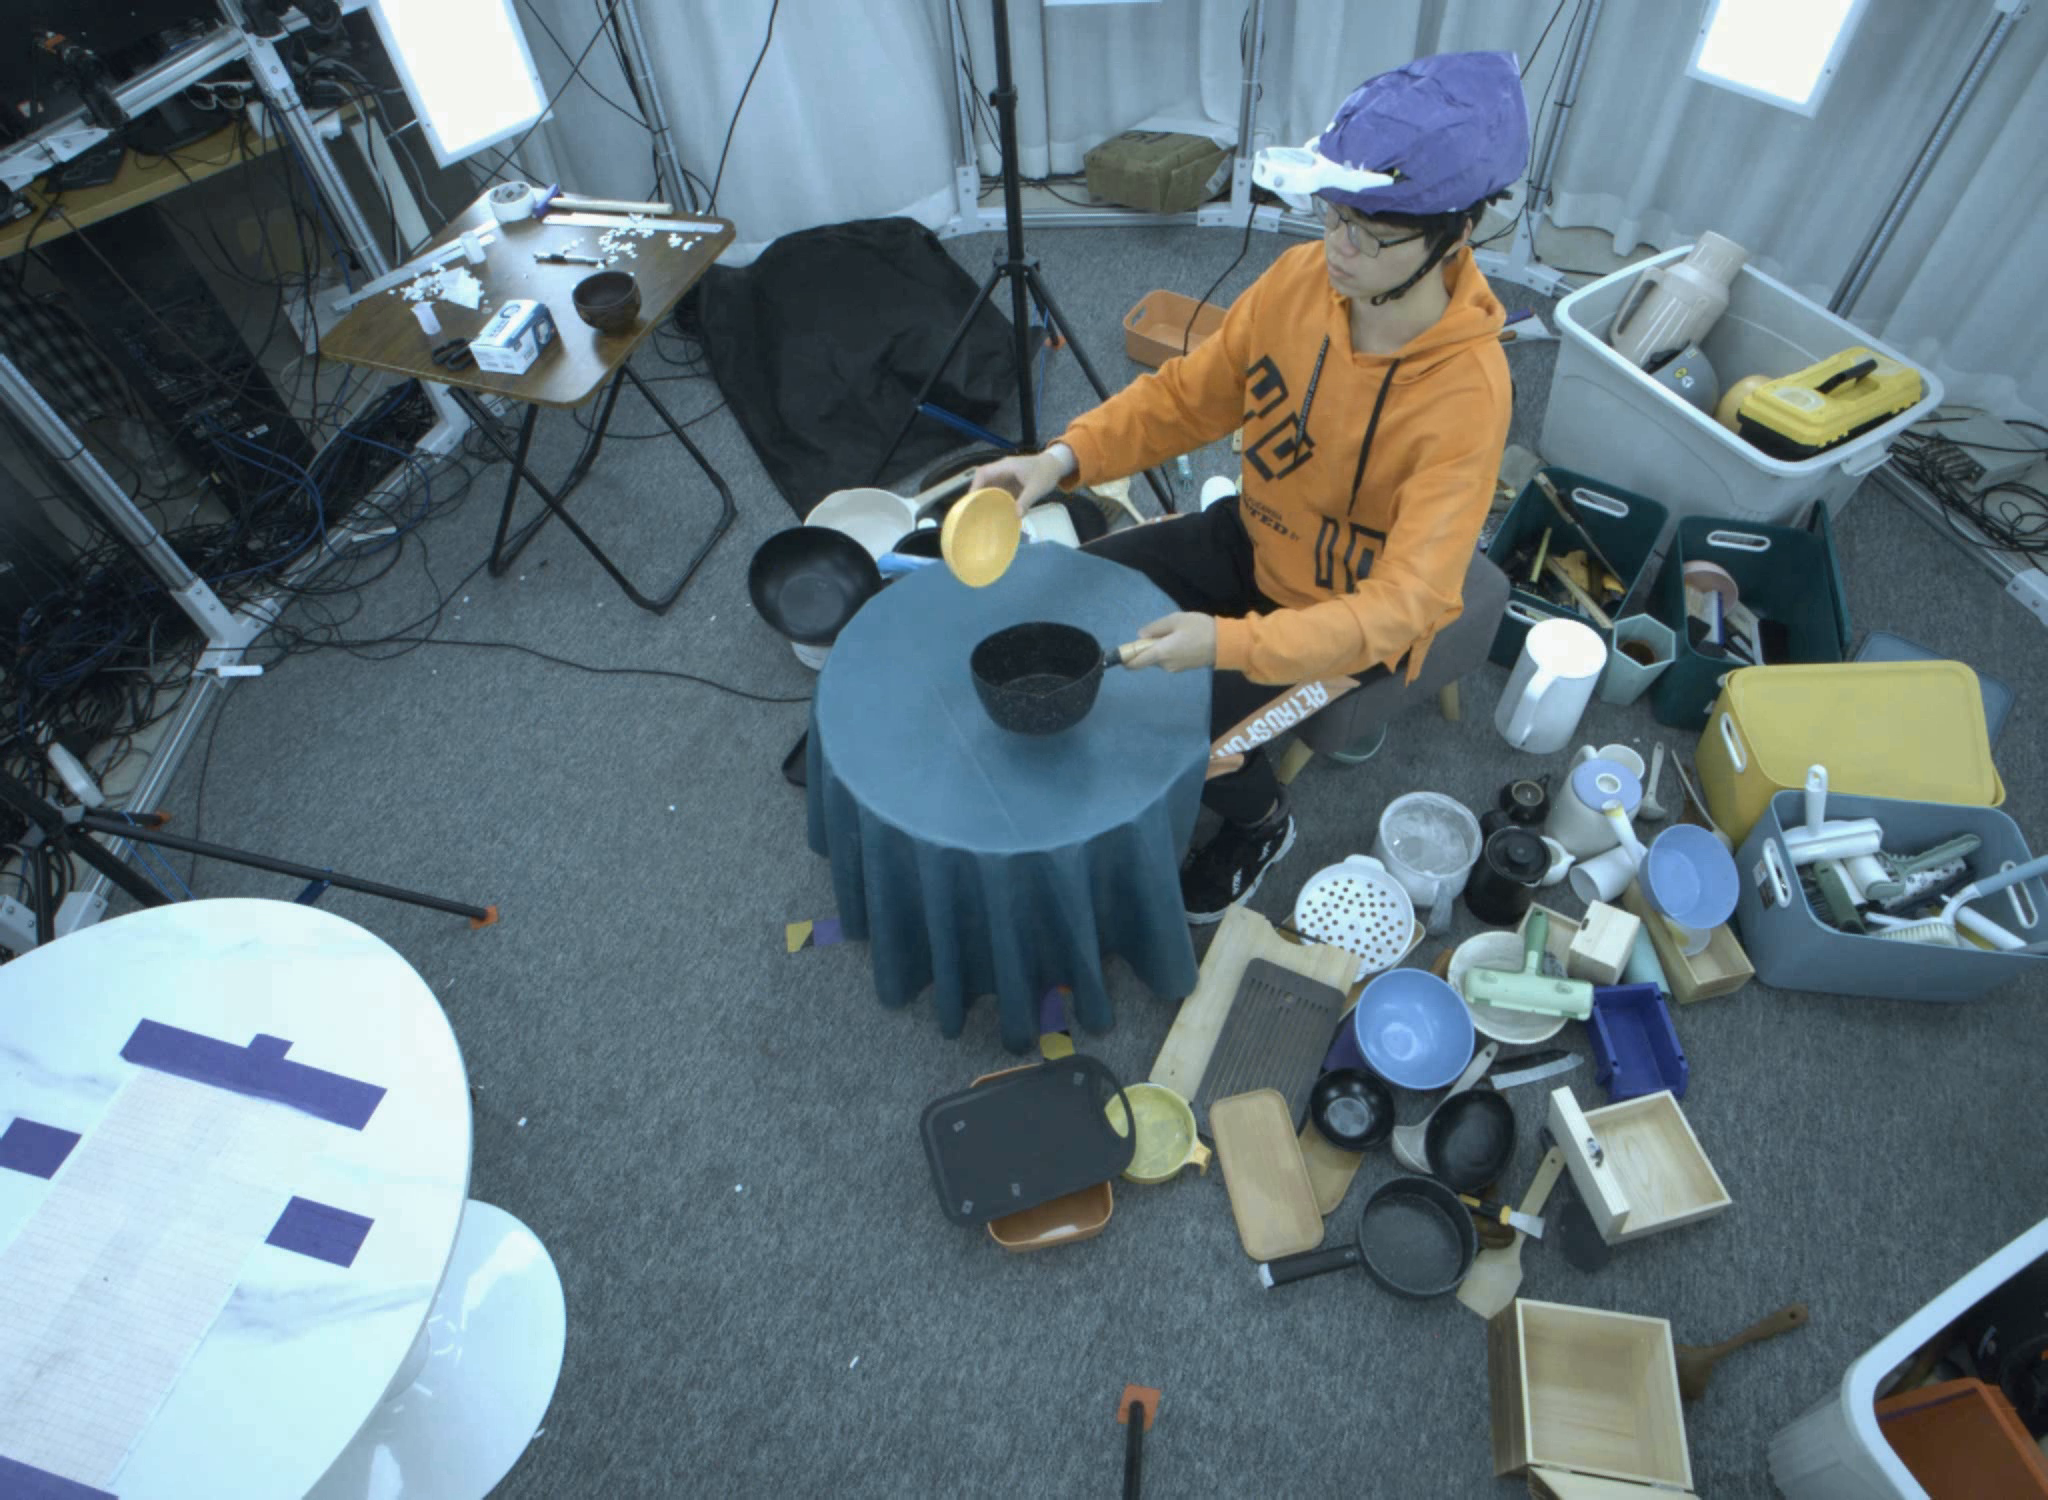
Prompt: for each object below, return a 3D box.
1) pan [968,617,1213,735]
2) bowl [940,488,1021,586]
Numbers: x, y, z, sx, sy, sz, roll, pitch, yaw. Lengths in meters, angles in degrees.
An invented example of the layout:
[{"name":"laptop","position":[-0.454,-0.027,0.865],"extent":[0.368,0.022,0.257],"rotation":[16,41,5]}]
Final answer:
[{"name":"pan","position":[0.096,-0.117,1.724],"extent":[0.344,0.109,0.204],"rotation":[-8,37,-3]},{"name":"bowl","position":[-0.075,-0.312,1.759],"extent":[0.059,0.148,0.146],"rotation":[25,59,36]}]
